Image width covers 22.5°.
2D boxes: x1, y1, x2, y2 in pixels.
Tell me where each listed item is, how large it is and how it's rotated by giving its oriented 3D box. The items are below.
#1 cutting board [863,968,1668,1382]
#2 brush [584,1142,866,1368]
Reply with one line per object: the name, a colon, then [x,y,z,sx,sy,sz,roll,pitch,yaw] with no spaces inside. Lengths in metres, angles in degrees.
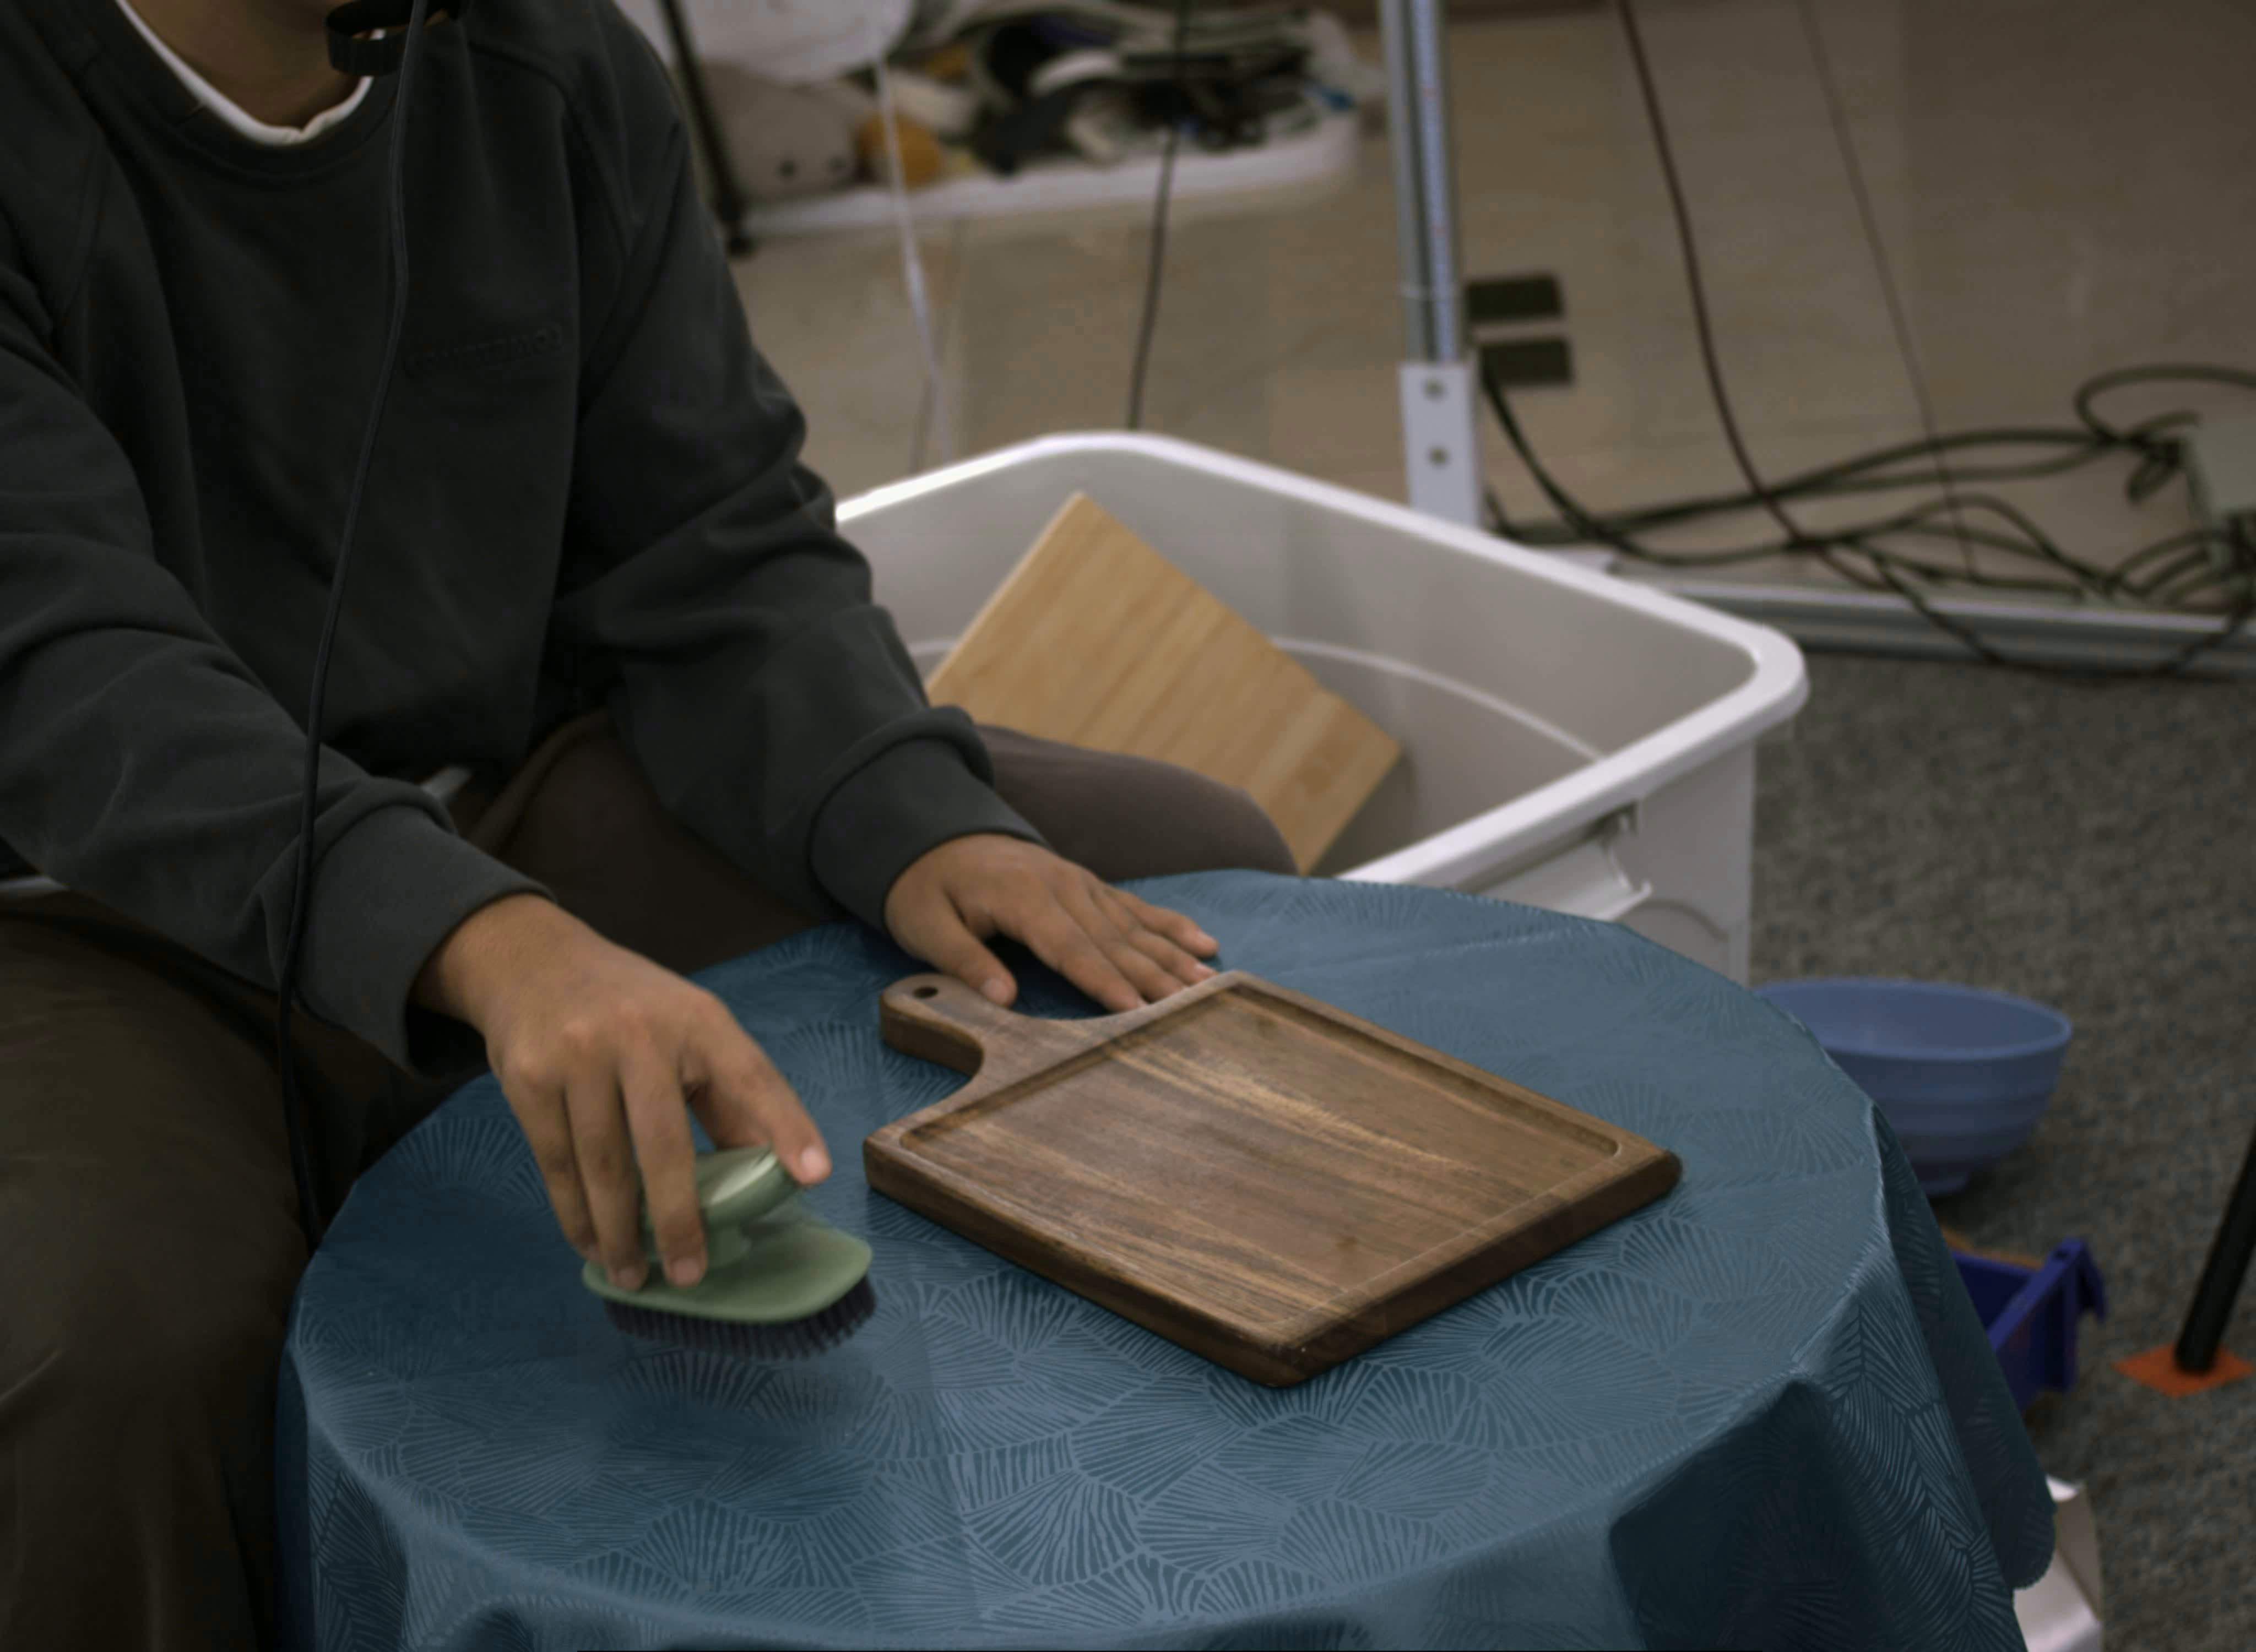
cutting board: [0.019,0.114,2.173,0.199,0.023,0.349,-23,29,-33]
brush: [-0.145,0.153,2.026,0.123,0.076,0.059,-10,19,49]
